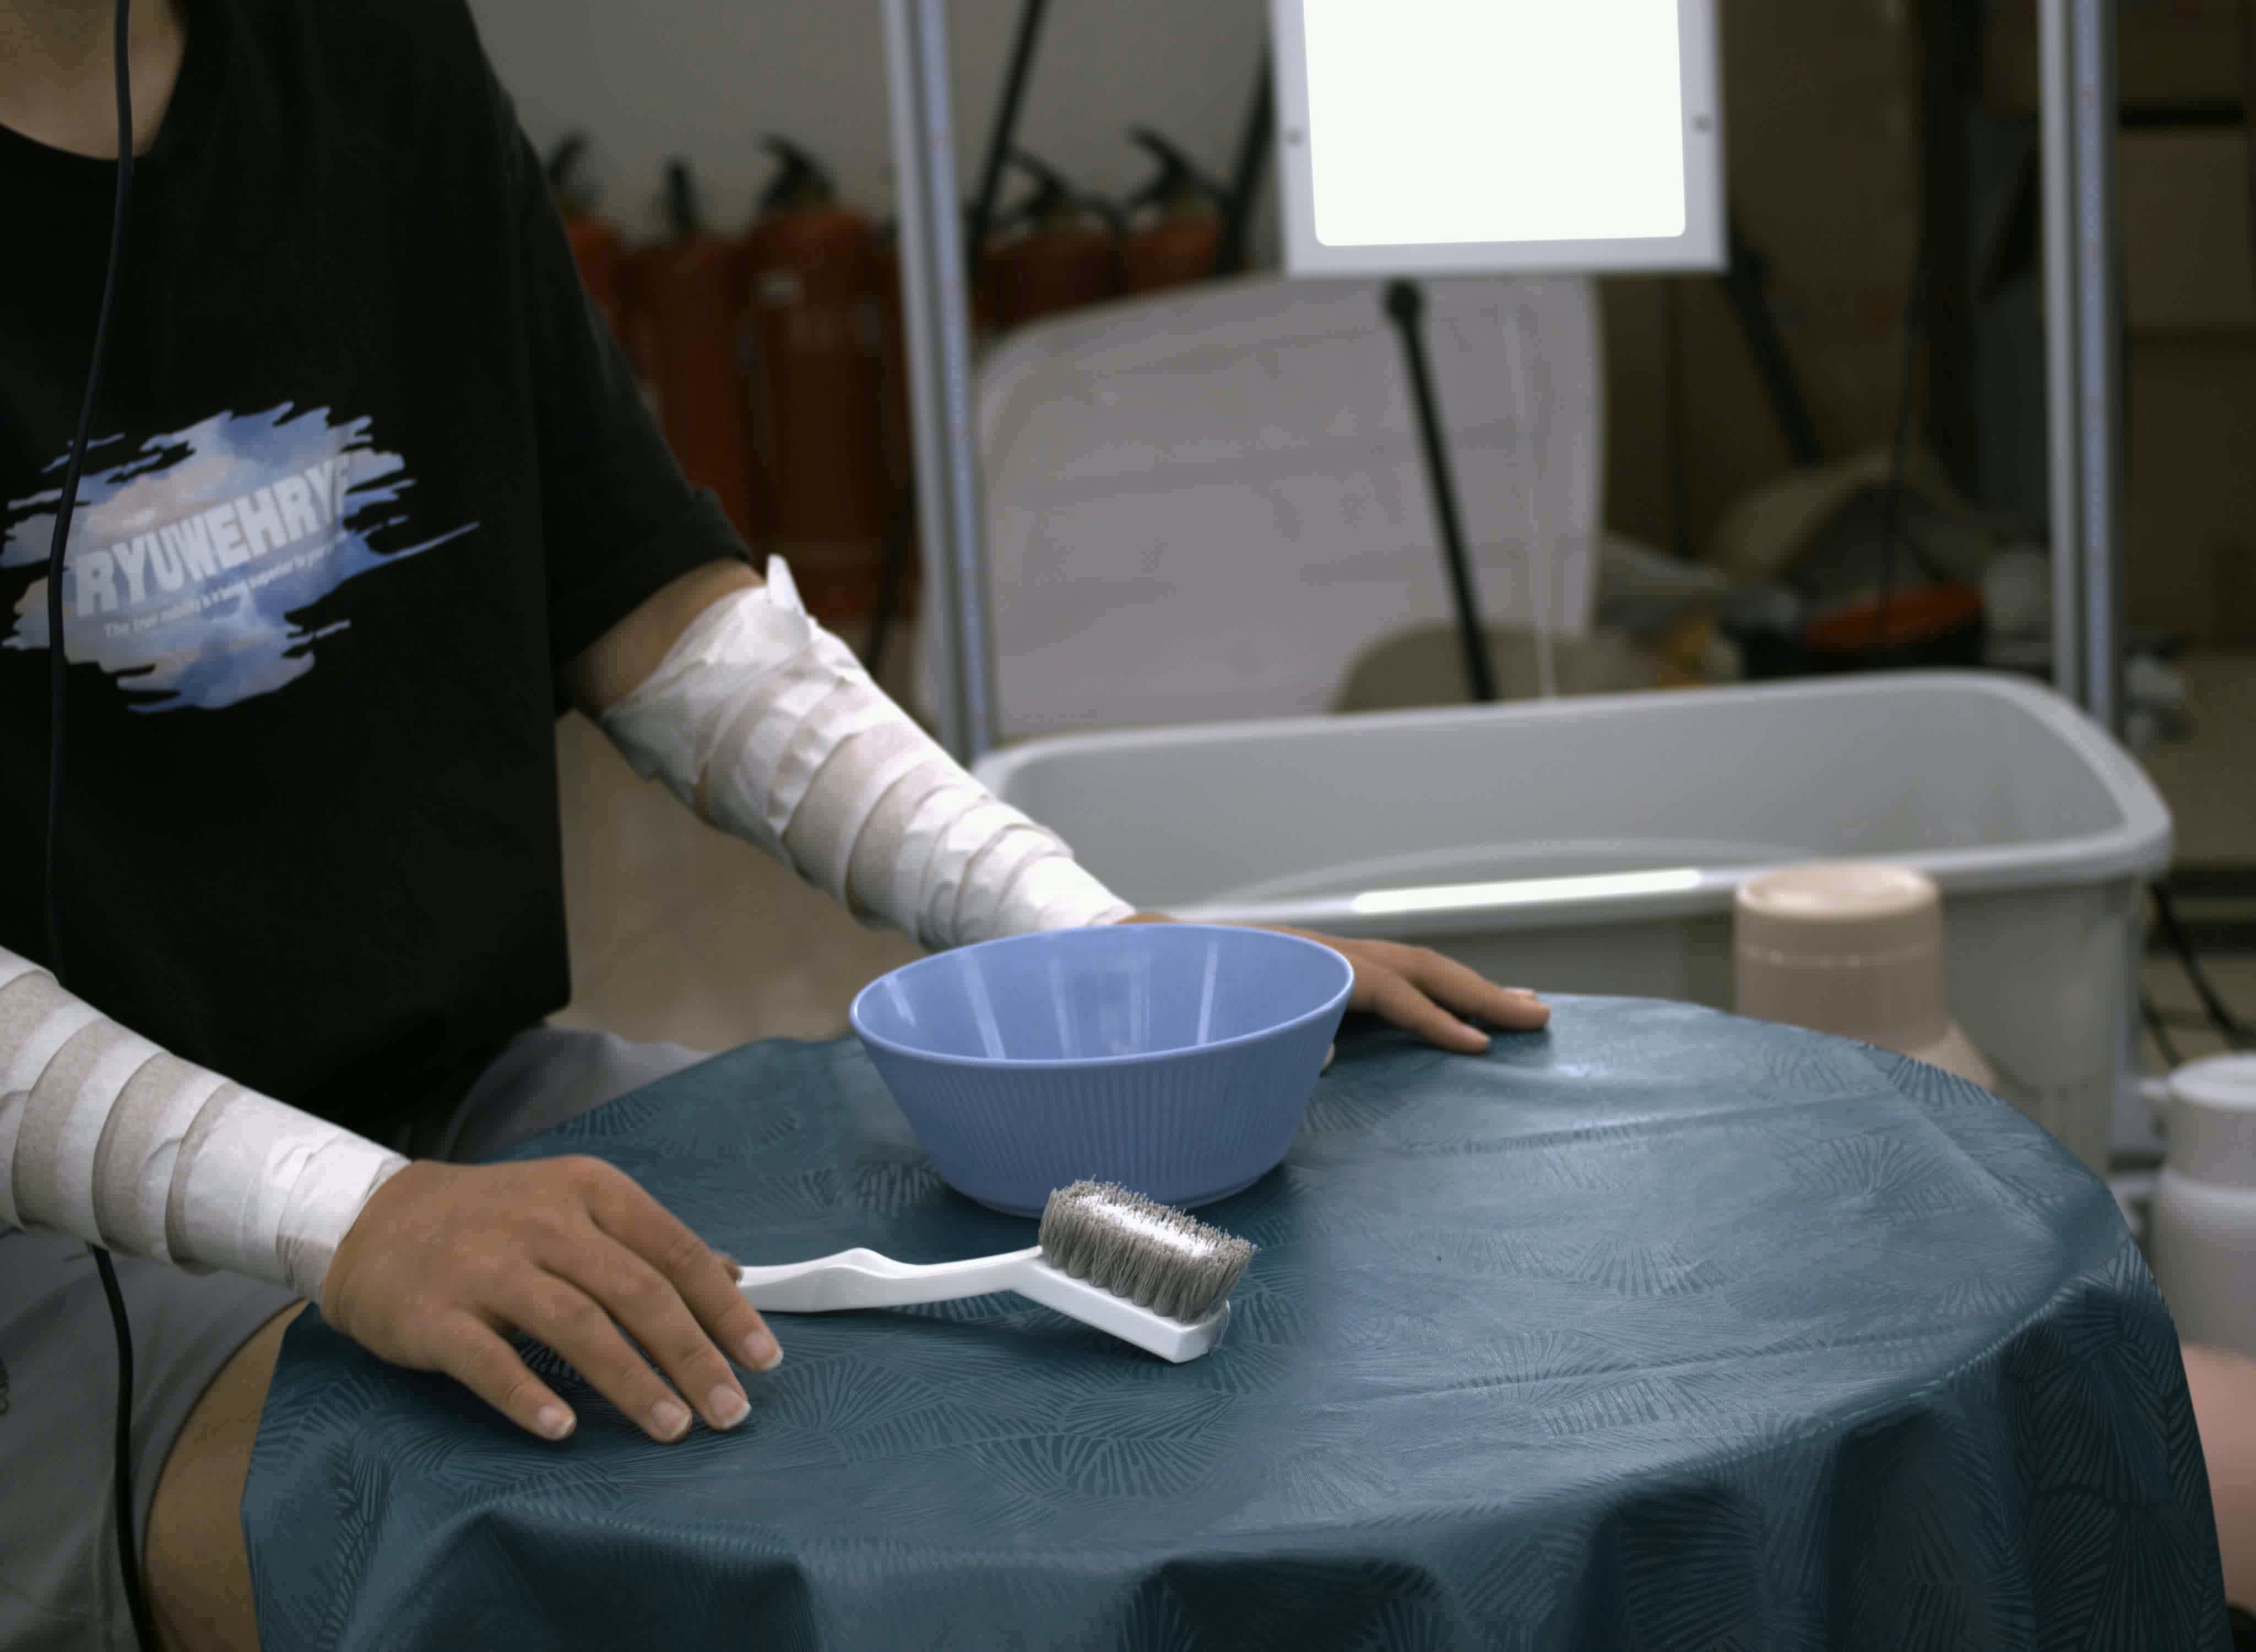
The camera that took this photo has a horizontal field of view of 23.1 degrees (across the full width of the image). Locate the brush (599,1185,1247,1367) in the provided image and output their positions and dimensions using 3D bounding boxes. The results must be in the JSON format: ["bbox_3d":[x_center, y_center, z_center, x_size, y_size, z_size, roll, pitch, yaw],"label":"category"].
[{"bbox_3d":[-0.072,0.135,1.782,0.248,0.050,0.033,5,15,33],"label":"brush"}]

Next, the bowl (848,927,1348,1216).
[{"bbox_3d":[-0.008,0.087,1.911,0.175,0.070,0.176,-5,13,0],"label":"bowl"}]
